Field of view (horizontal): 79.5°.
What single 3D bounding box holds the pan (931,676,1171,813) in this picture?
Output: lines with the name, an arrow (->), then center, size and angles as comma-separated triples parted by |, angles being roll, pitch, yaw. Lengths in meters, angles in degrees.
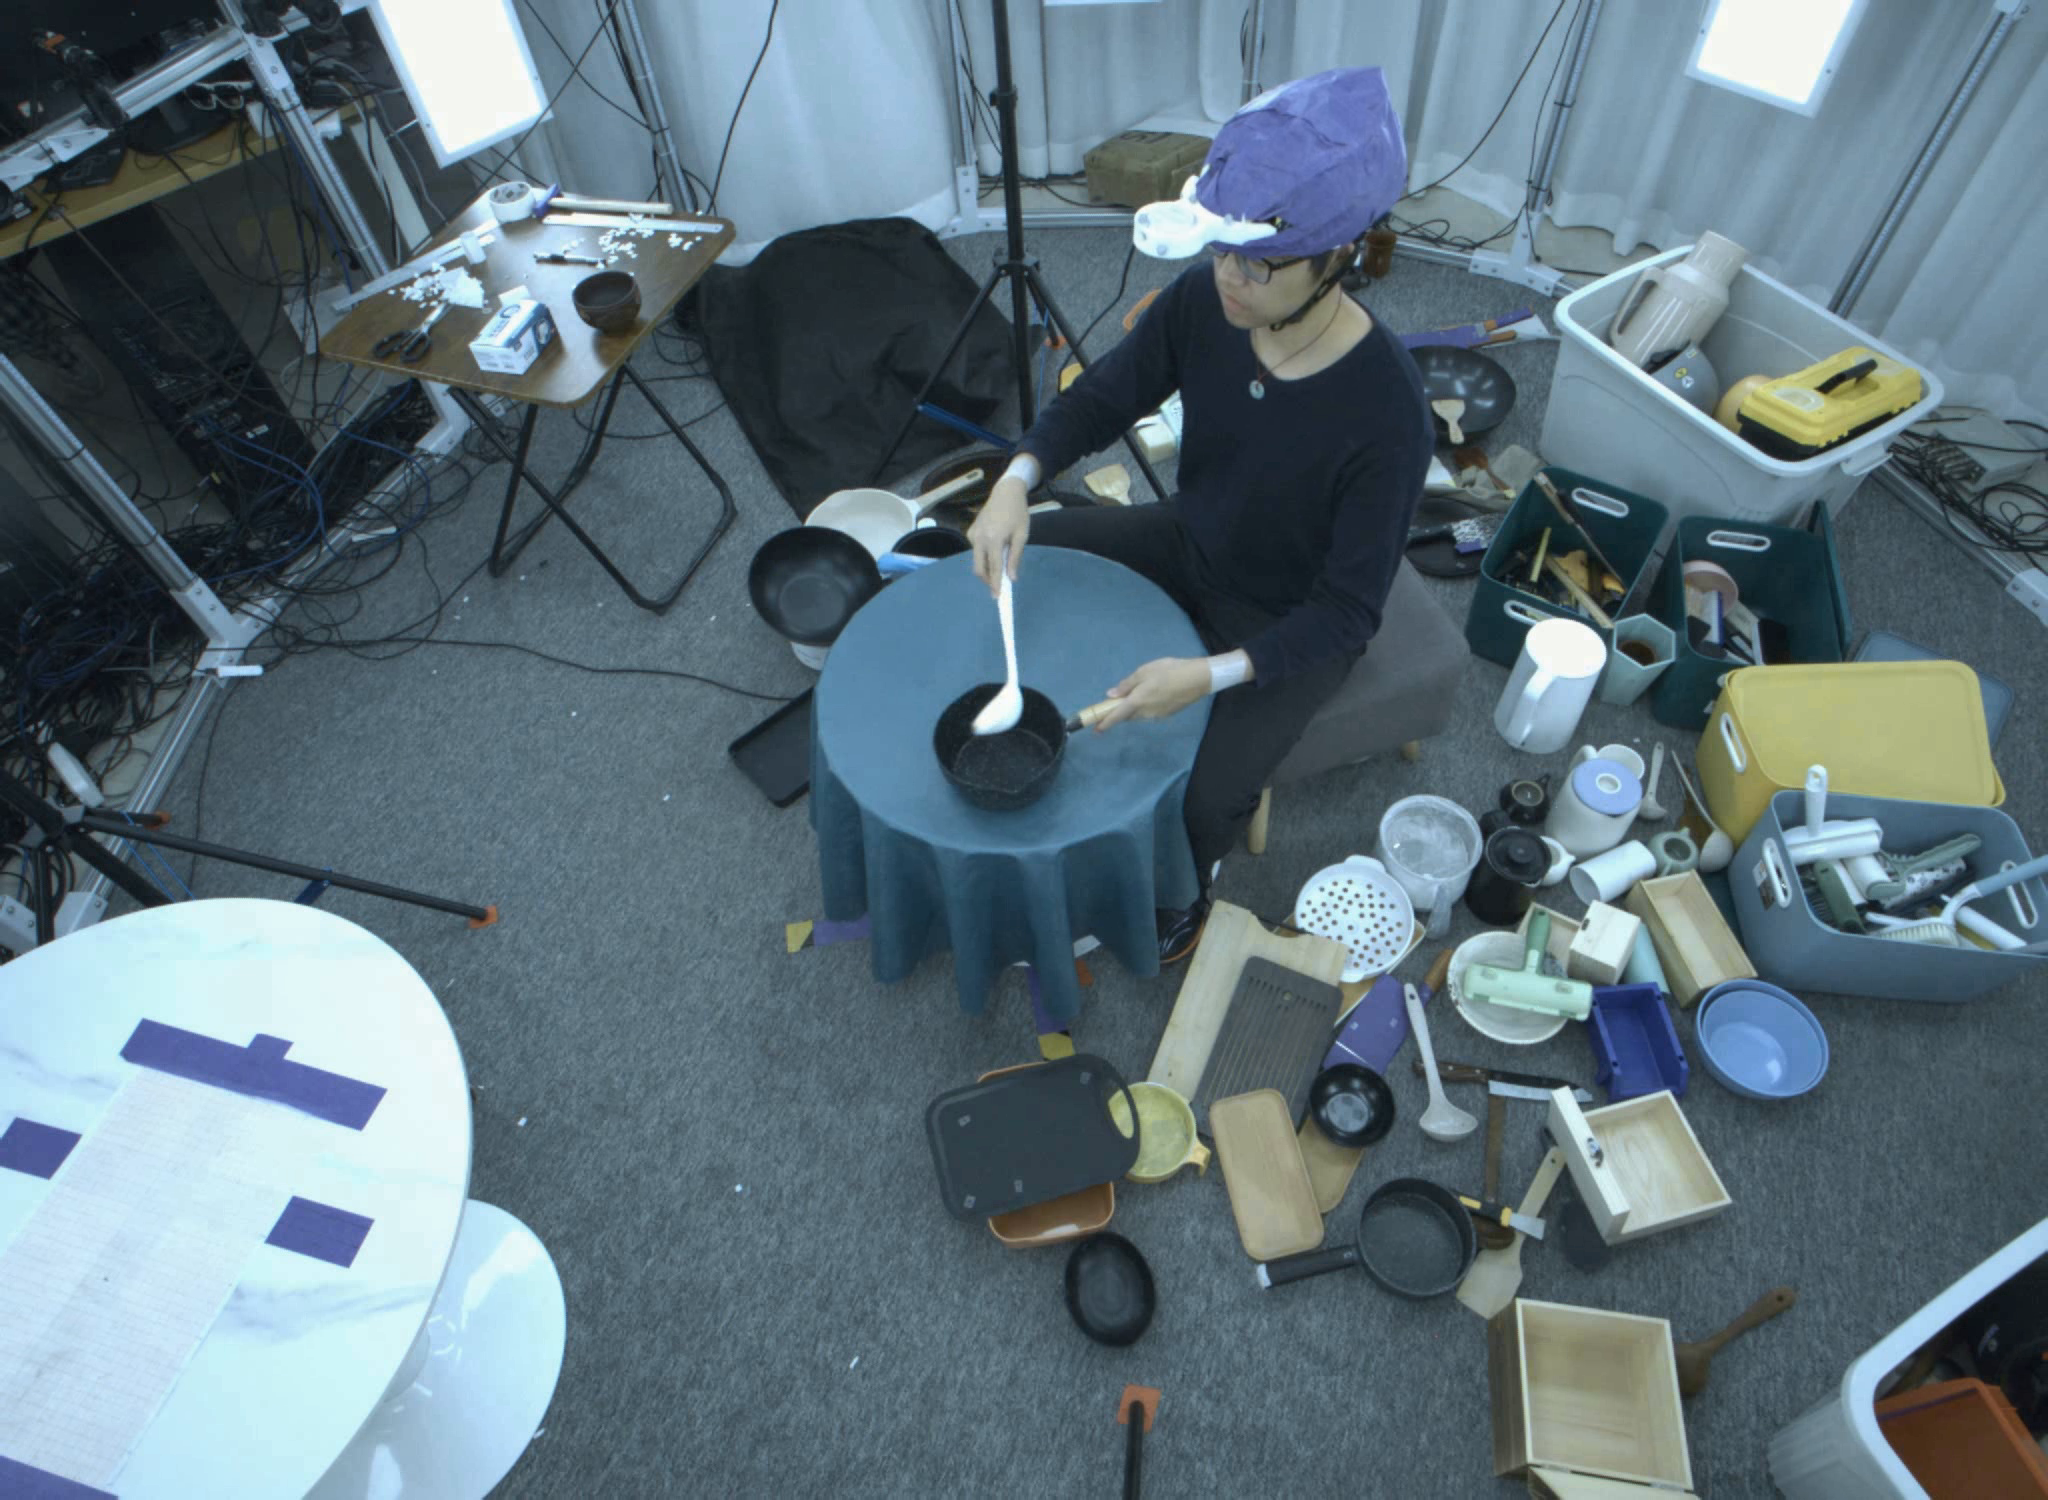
pan -> 0.043, -0.025, 1.734 | 0.344, 0.109, 0.204 | -16, 54, -6

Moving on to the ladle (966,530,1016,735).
ladle -> -0.047, -0.163, 1.690 | 0.071, 0.089, 0.292 | 2, 80, -22
